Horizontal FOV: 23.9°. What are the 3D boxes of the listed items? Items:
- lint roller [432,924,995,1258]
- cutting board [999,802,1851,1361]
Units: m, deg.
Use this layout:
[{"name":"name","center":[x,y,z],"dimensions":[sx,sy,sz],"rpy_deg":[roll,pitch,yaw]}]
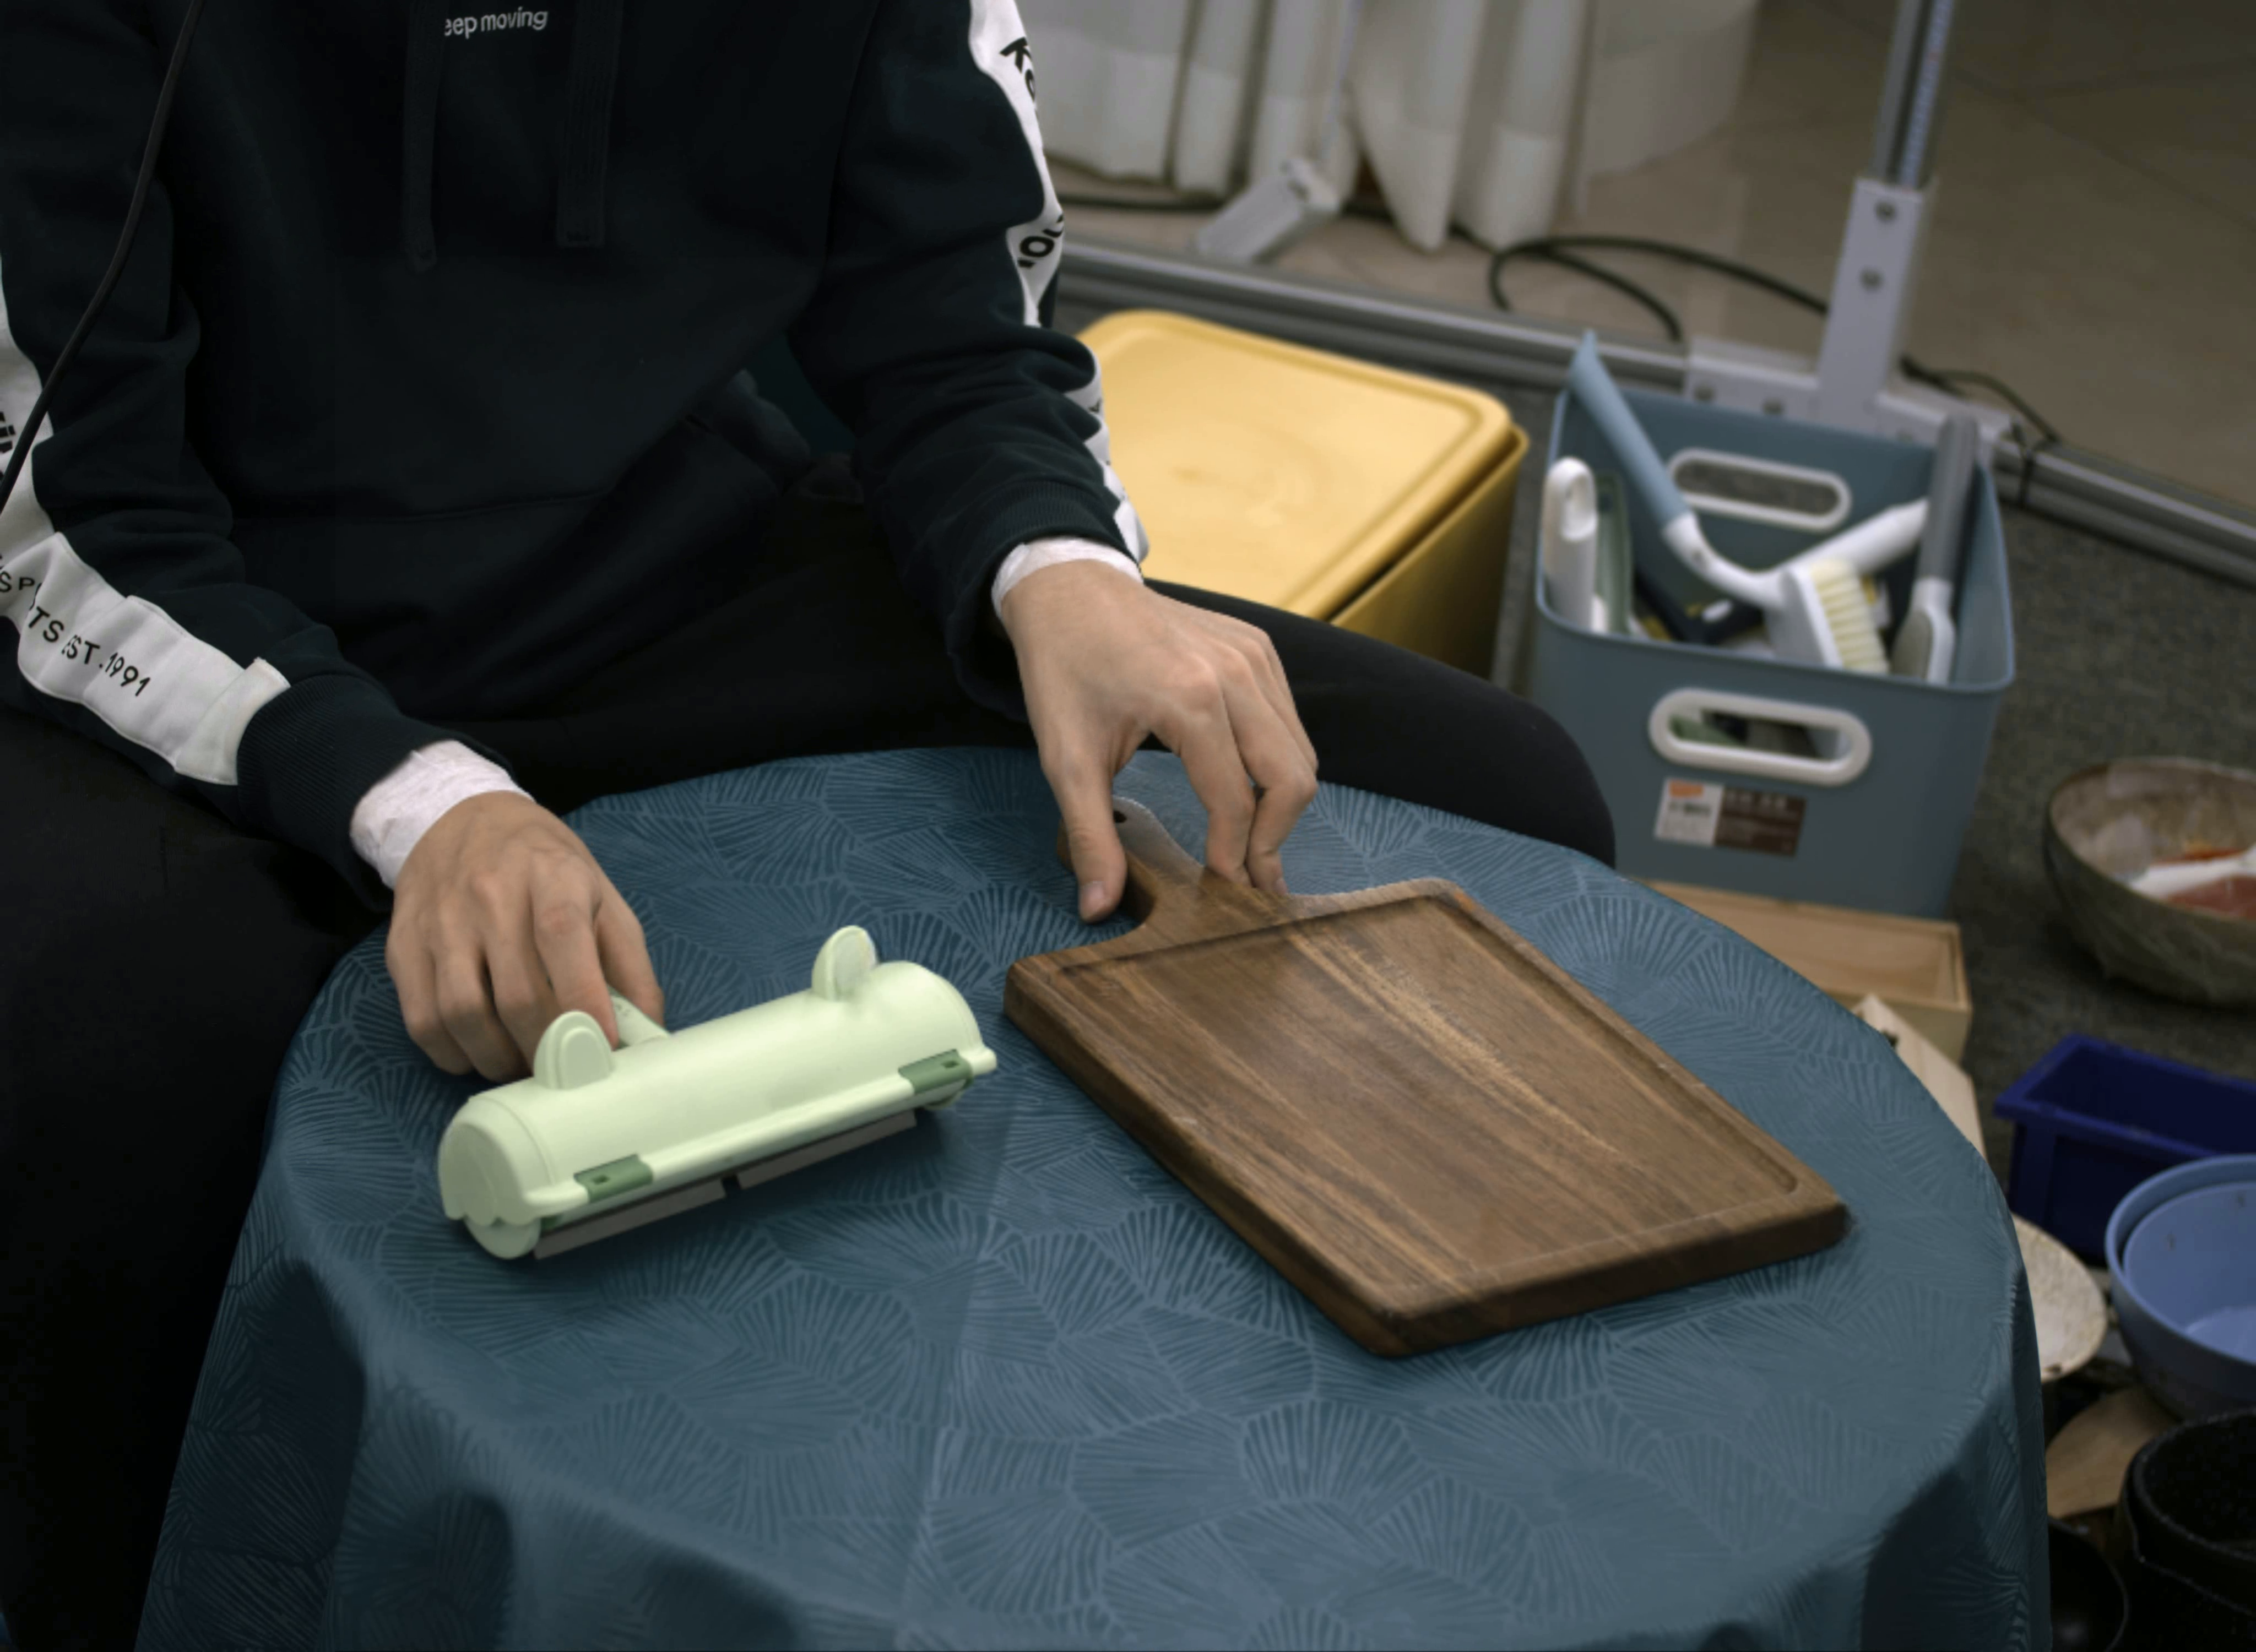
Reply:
[{"name":"lint roller","center":[-0.172,0.061,1.798],"dimensions":[0.197,0.082,0.185],"rpy_deg":[-17,39,-38]},{"name":"cutting board","center":[0.074,0.075,1.888],"dimensions":[0.200,0.023,0.355],"rpy_deg":[-11,31,-31]}]
